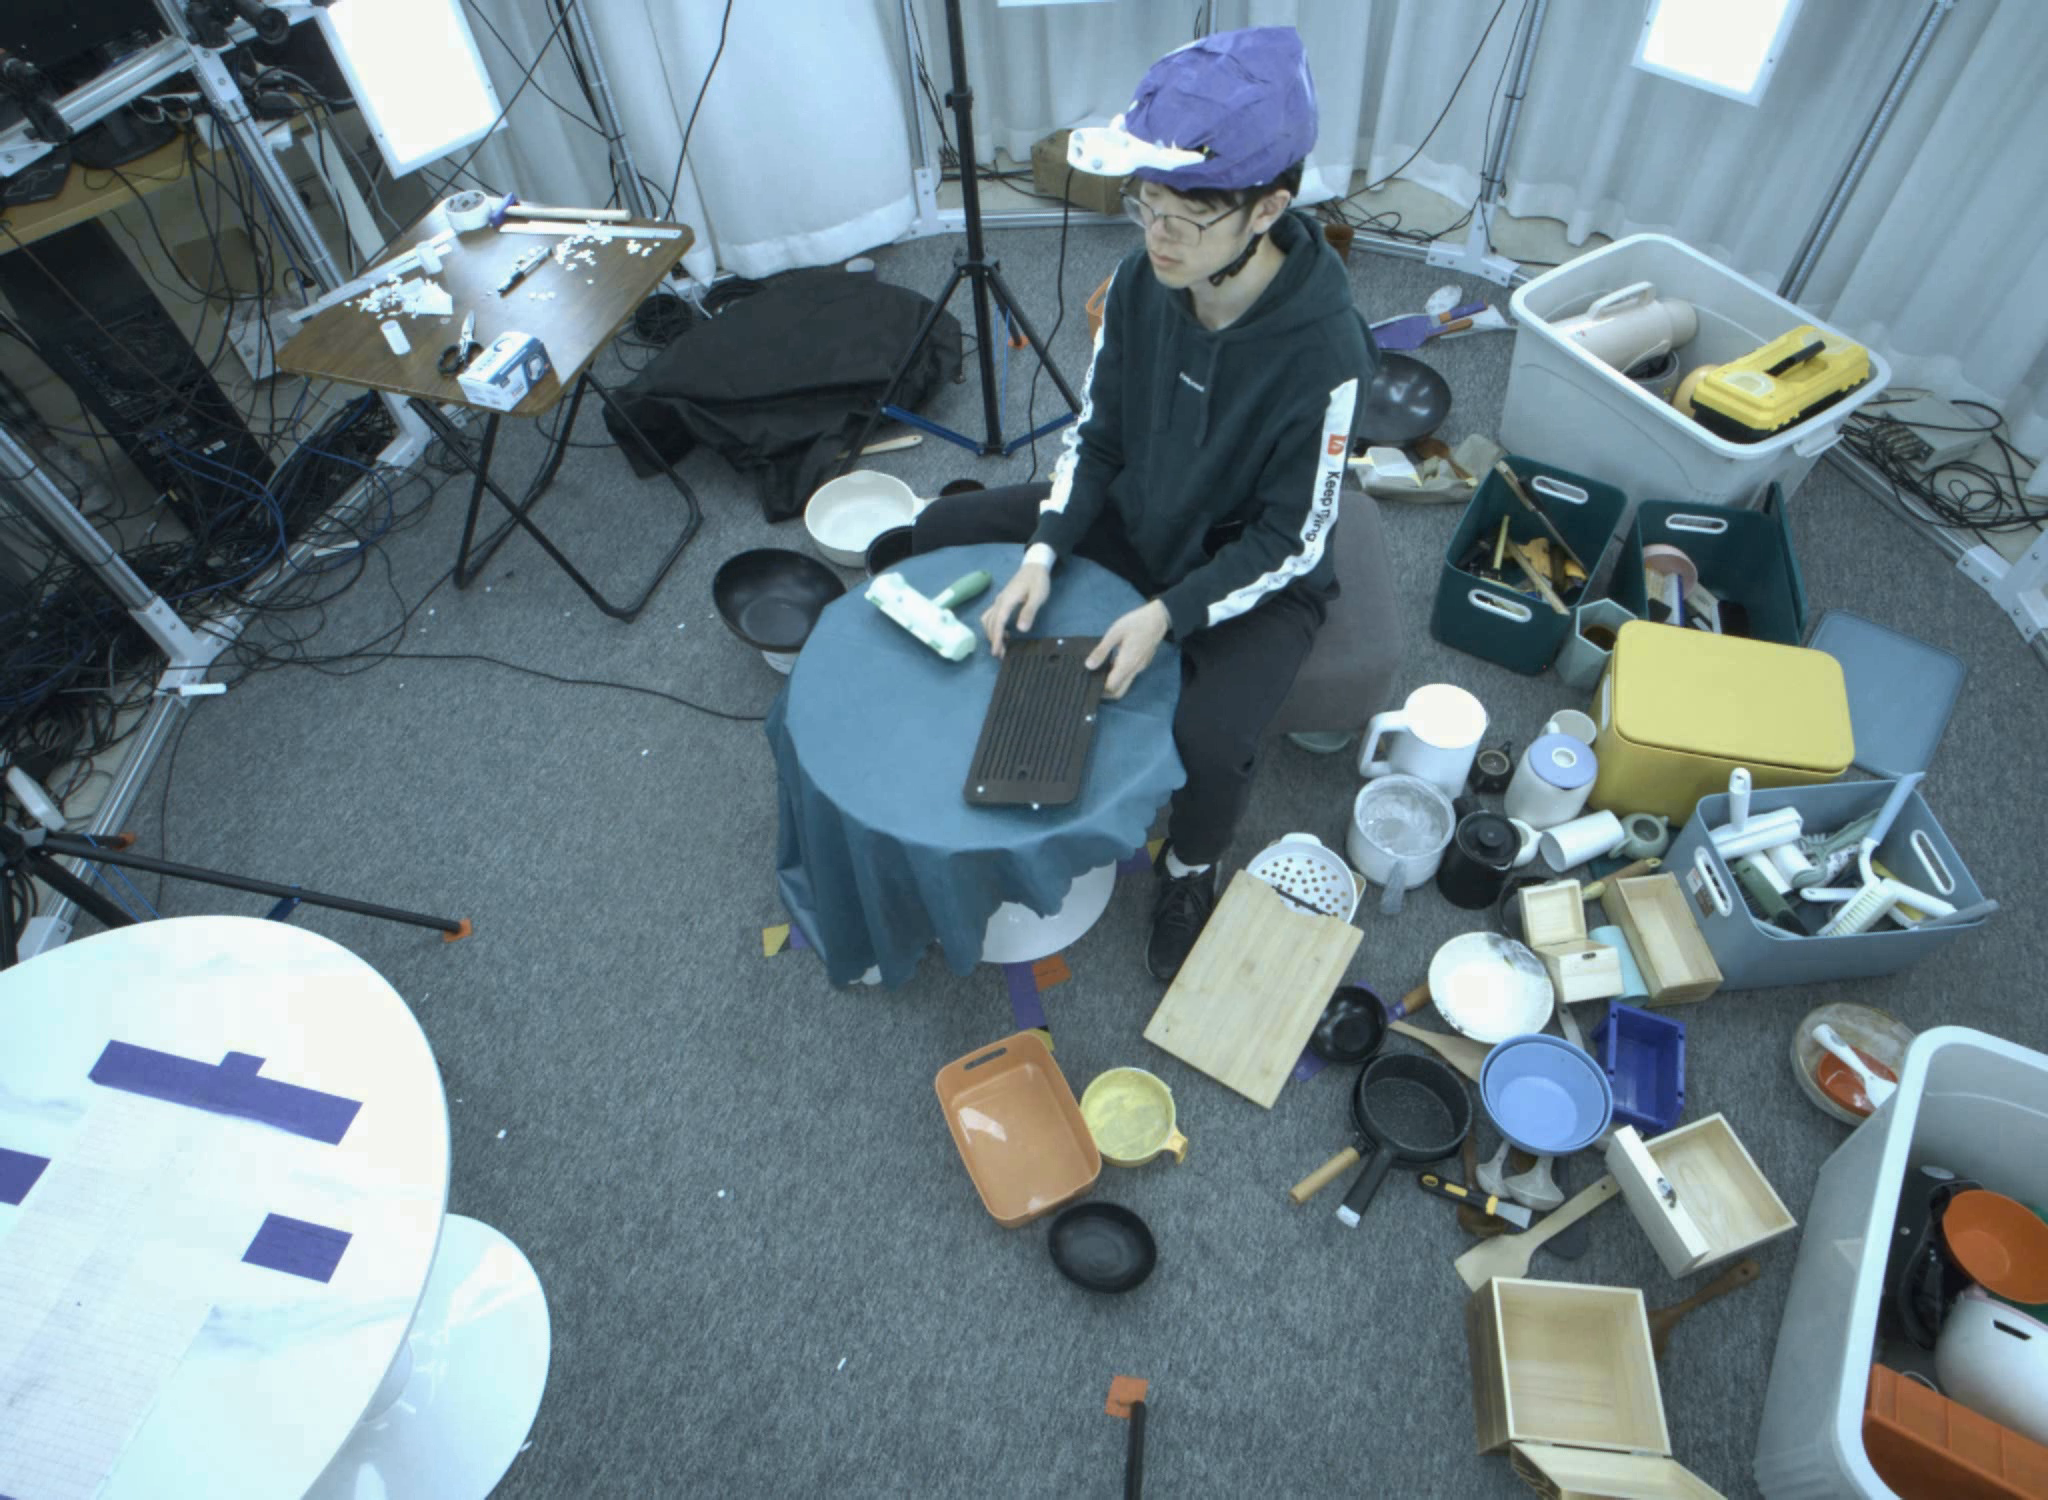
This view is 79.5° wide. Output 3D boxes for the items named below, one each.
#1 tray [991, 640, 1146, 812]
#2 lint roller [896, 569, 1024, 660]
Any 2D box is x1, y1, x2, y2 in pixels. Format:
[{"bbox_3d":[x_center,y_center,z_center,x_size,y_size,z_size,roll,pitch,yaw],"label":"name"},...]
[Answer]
[{"bbox_3d":[0.068,-0.039,1.775,0.168,0.019,0.304,3,54,20],"label":"tray"},{"bbox_3d":[-0.072,-0.245,1.910,0.184,0.083,0.195,-41,62,-20],"label":"lint roller"}]
